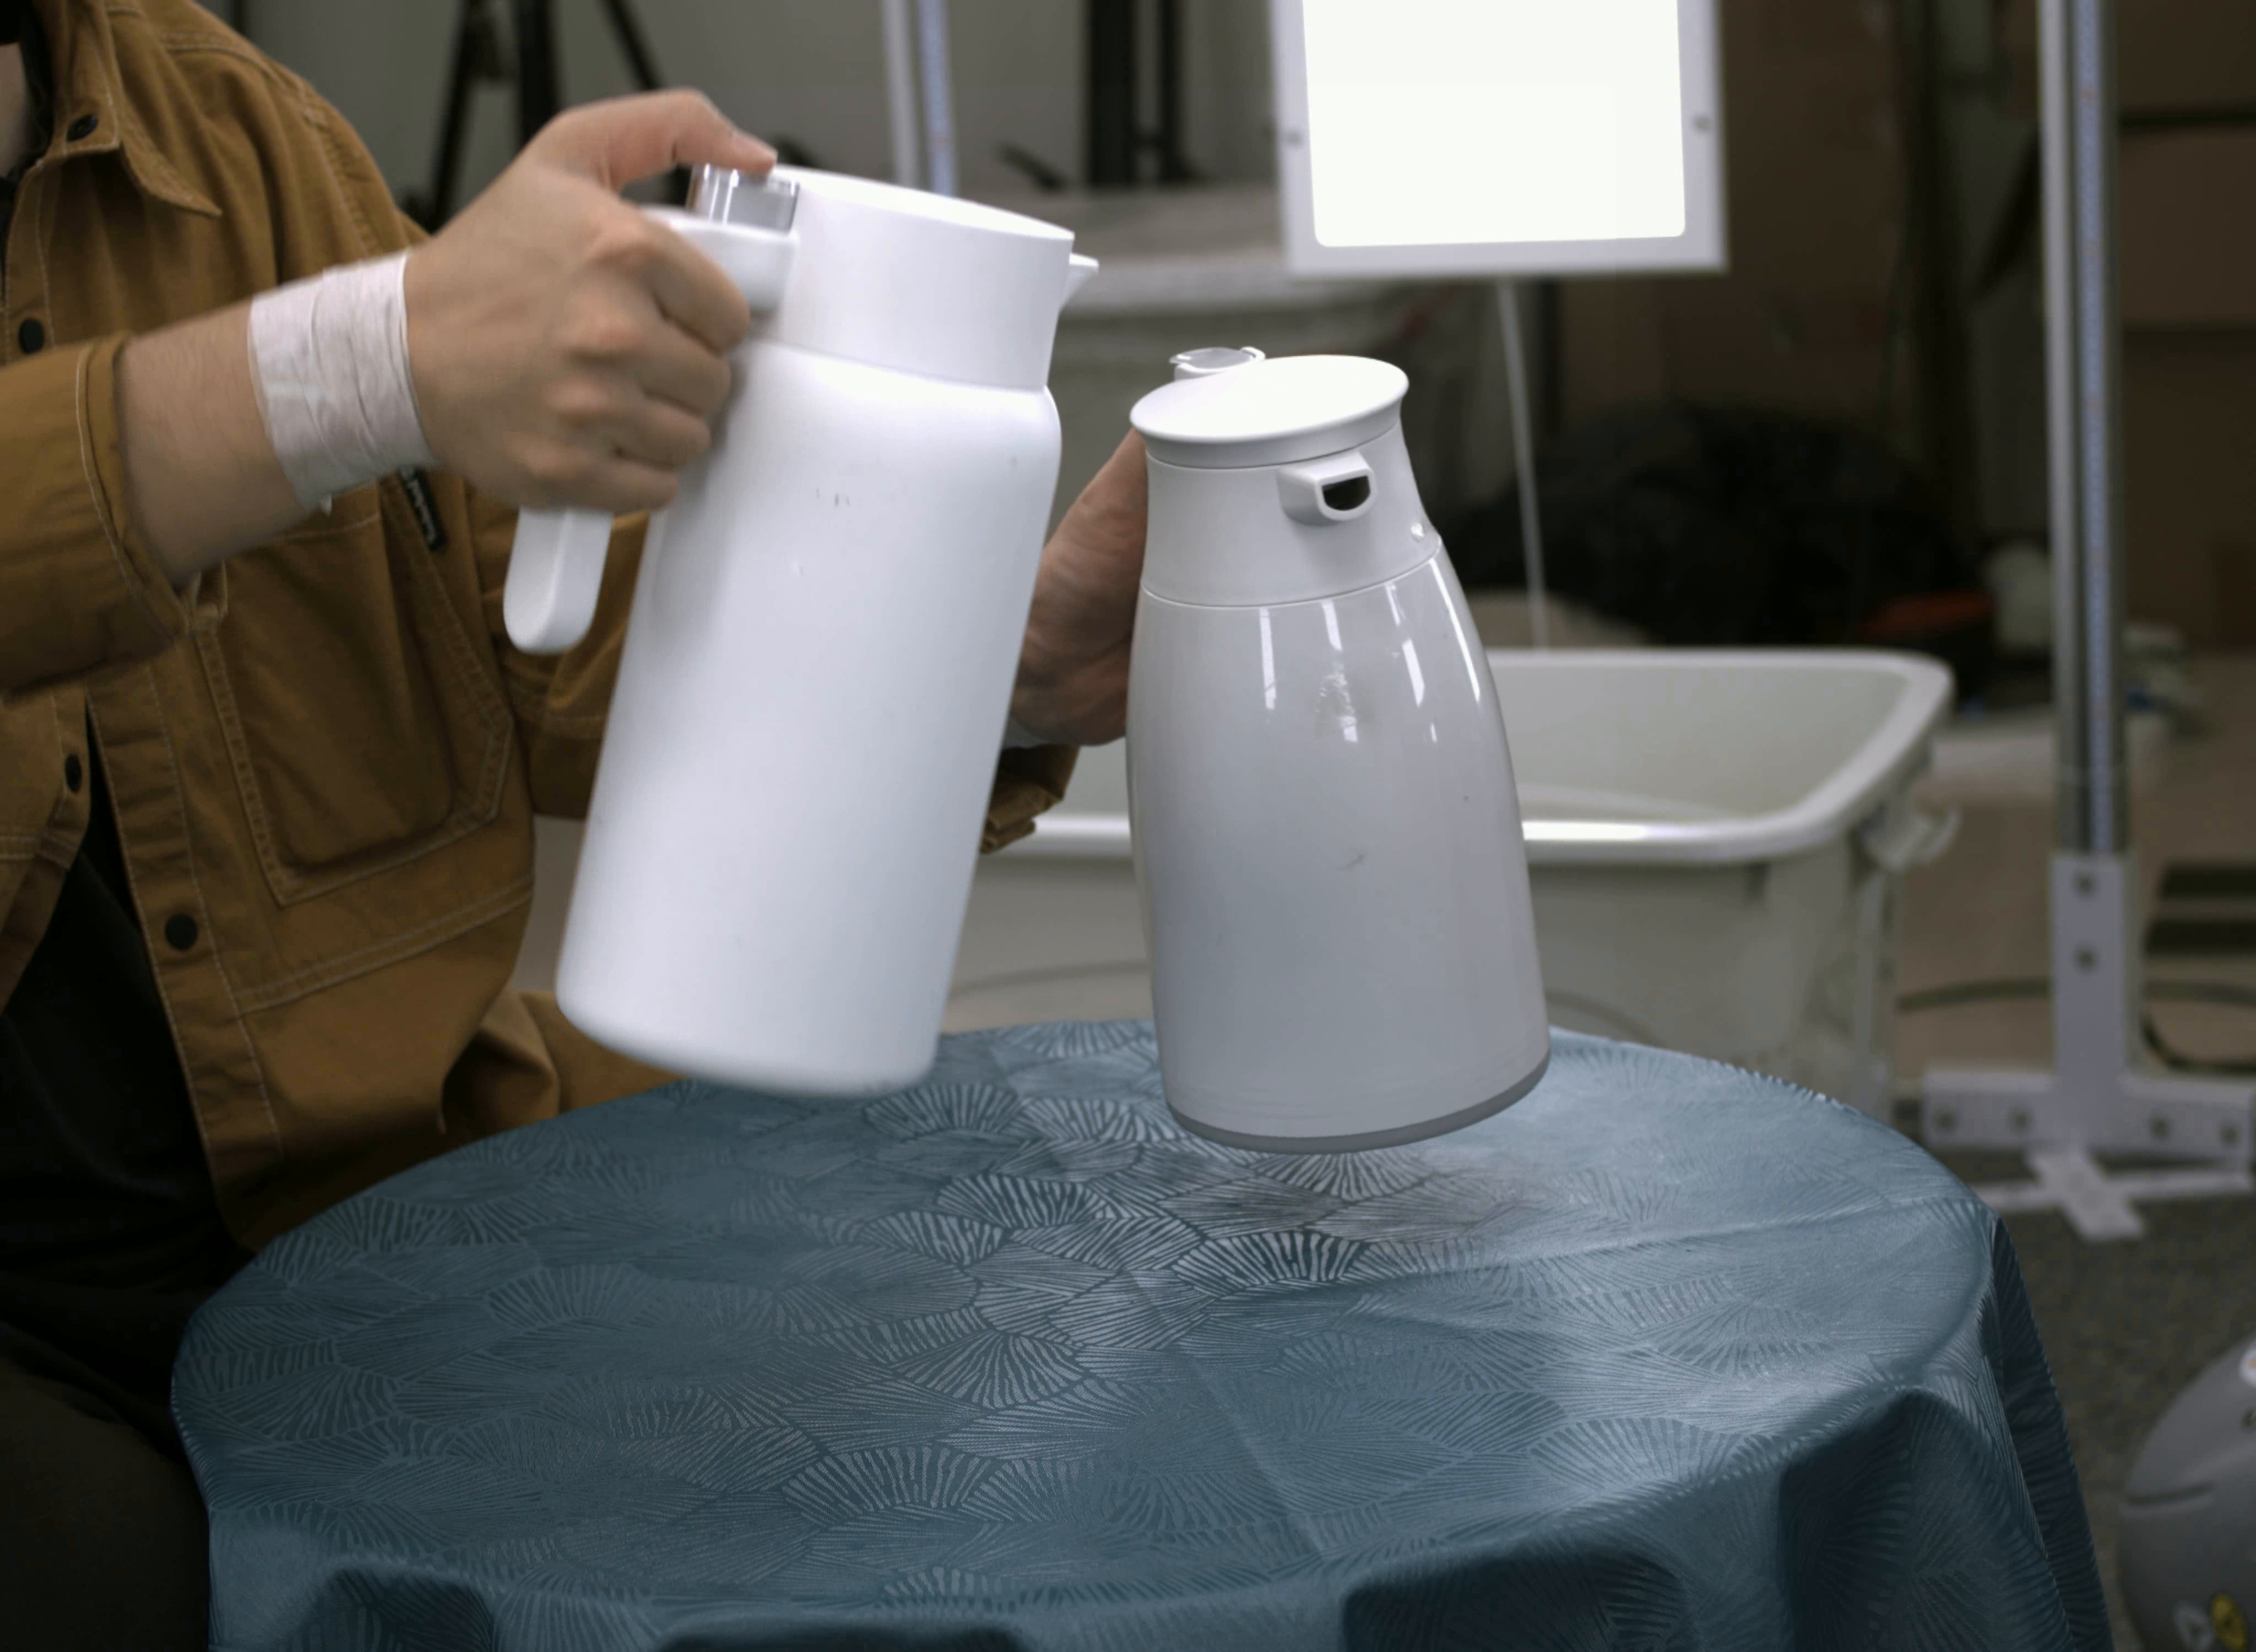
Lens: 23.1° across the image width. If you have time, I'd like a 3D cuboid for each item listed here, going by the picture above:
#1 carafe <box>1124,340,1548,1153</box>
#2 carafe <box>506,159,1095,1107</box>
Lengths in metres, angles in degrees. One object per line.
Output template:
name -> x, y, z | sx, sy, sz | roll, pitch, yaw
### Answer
carafe -> 0.053, -0.036, 1.830 | 0.130, 0.249, 0.170 | -15, 19, -17
carafe -> -0.103, -0.058, 1.640 | 0.168, 0.270, 0.126 | 4, 15, -35
